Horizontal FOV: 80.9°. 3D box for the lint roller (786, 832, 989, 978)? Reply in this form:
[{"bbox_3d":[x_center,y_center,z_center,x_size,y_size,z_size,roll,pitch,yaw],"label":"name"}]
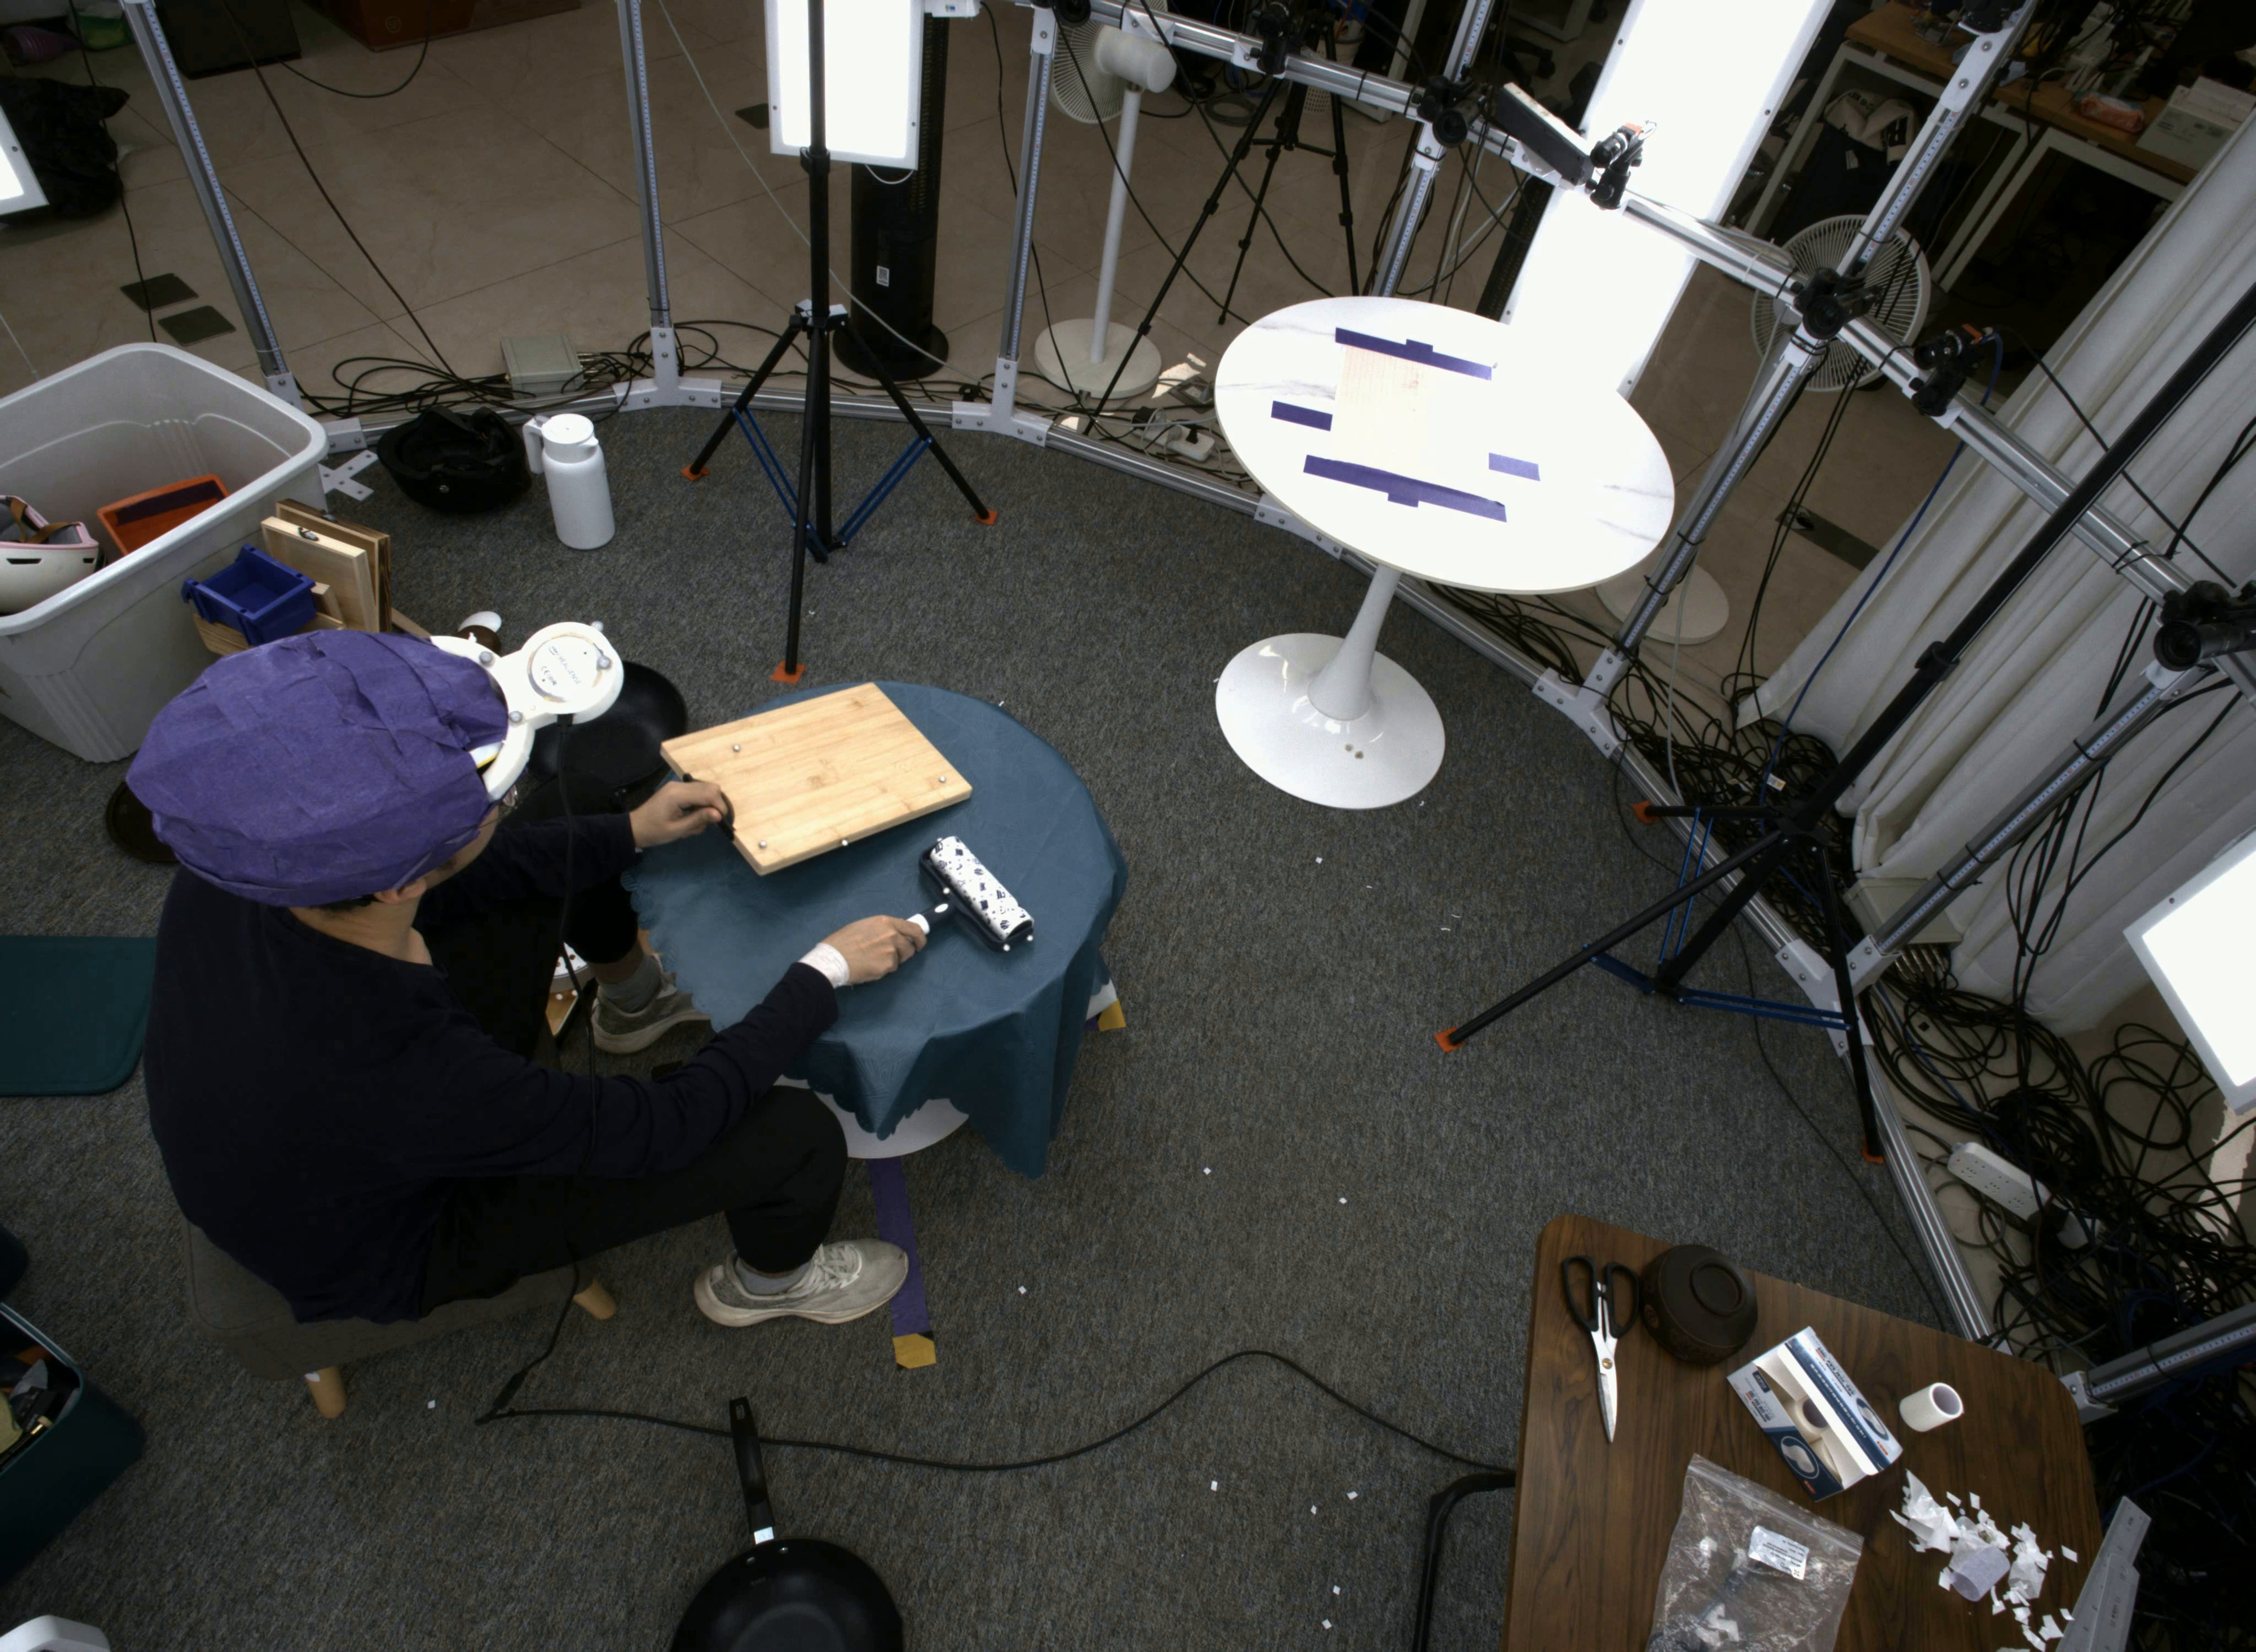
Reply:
[{"bbox_3d":[-0.317,0.117,1.629,0.248,0.051,0.172,-30,64,-32],"label":"lint roller"}]

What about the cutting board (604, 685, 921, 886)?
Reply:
[{"bbox_3d":[-0.476,-0.065,1.708,0.245,0.024,0.351,43,42,18],"label":"cutting board"}]
